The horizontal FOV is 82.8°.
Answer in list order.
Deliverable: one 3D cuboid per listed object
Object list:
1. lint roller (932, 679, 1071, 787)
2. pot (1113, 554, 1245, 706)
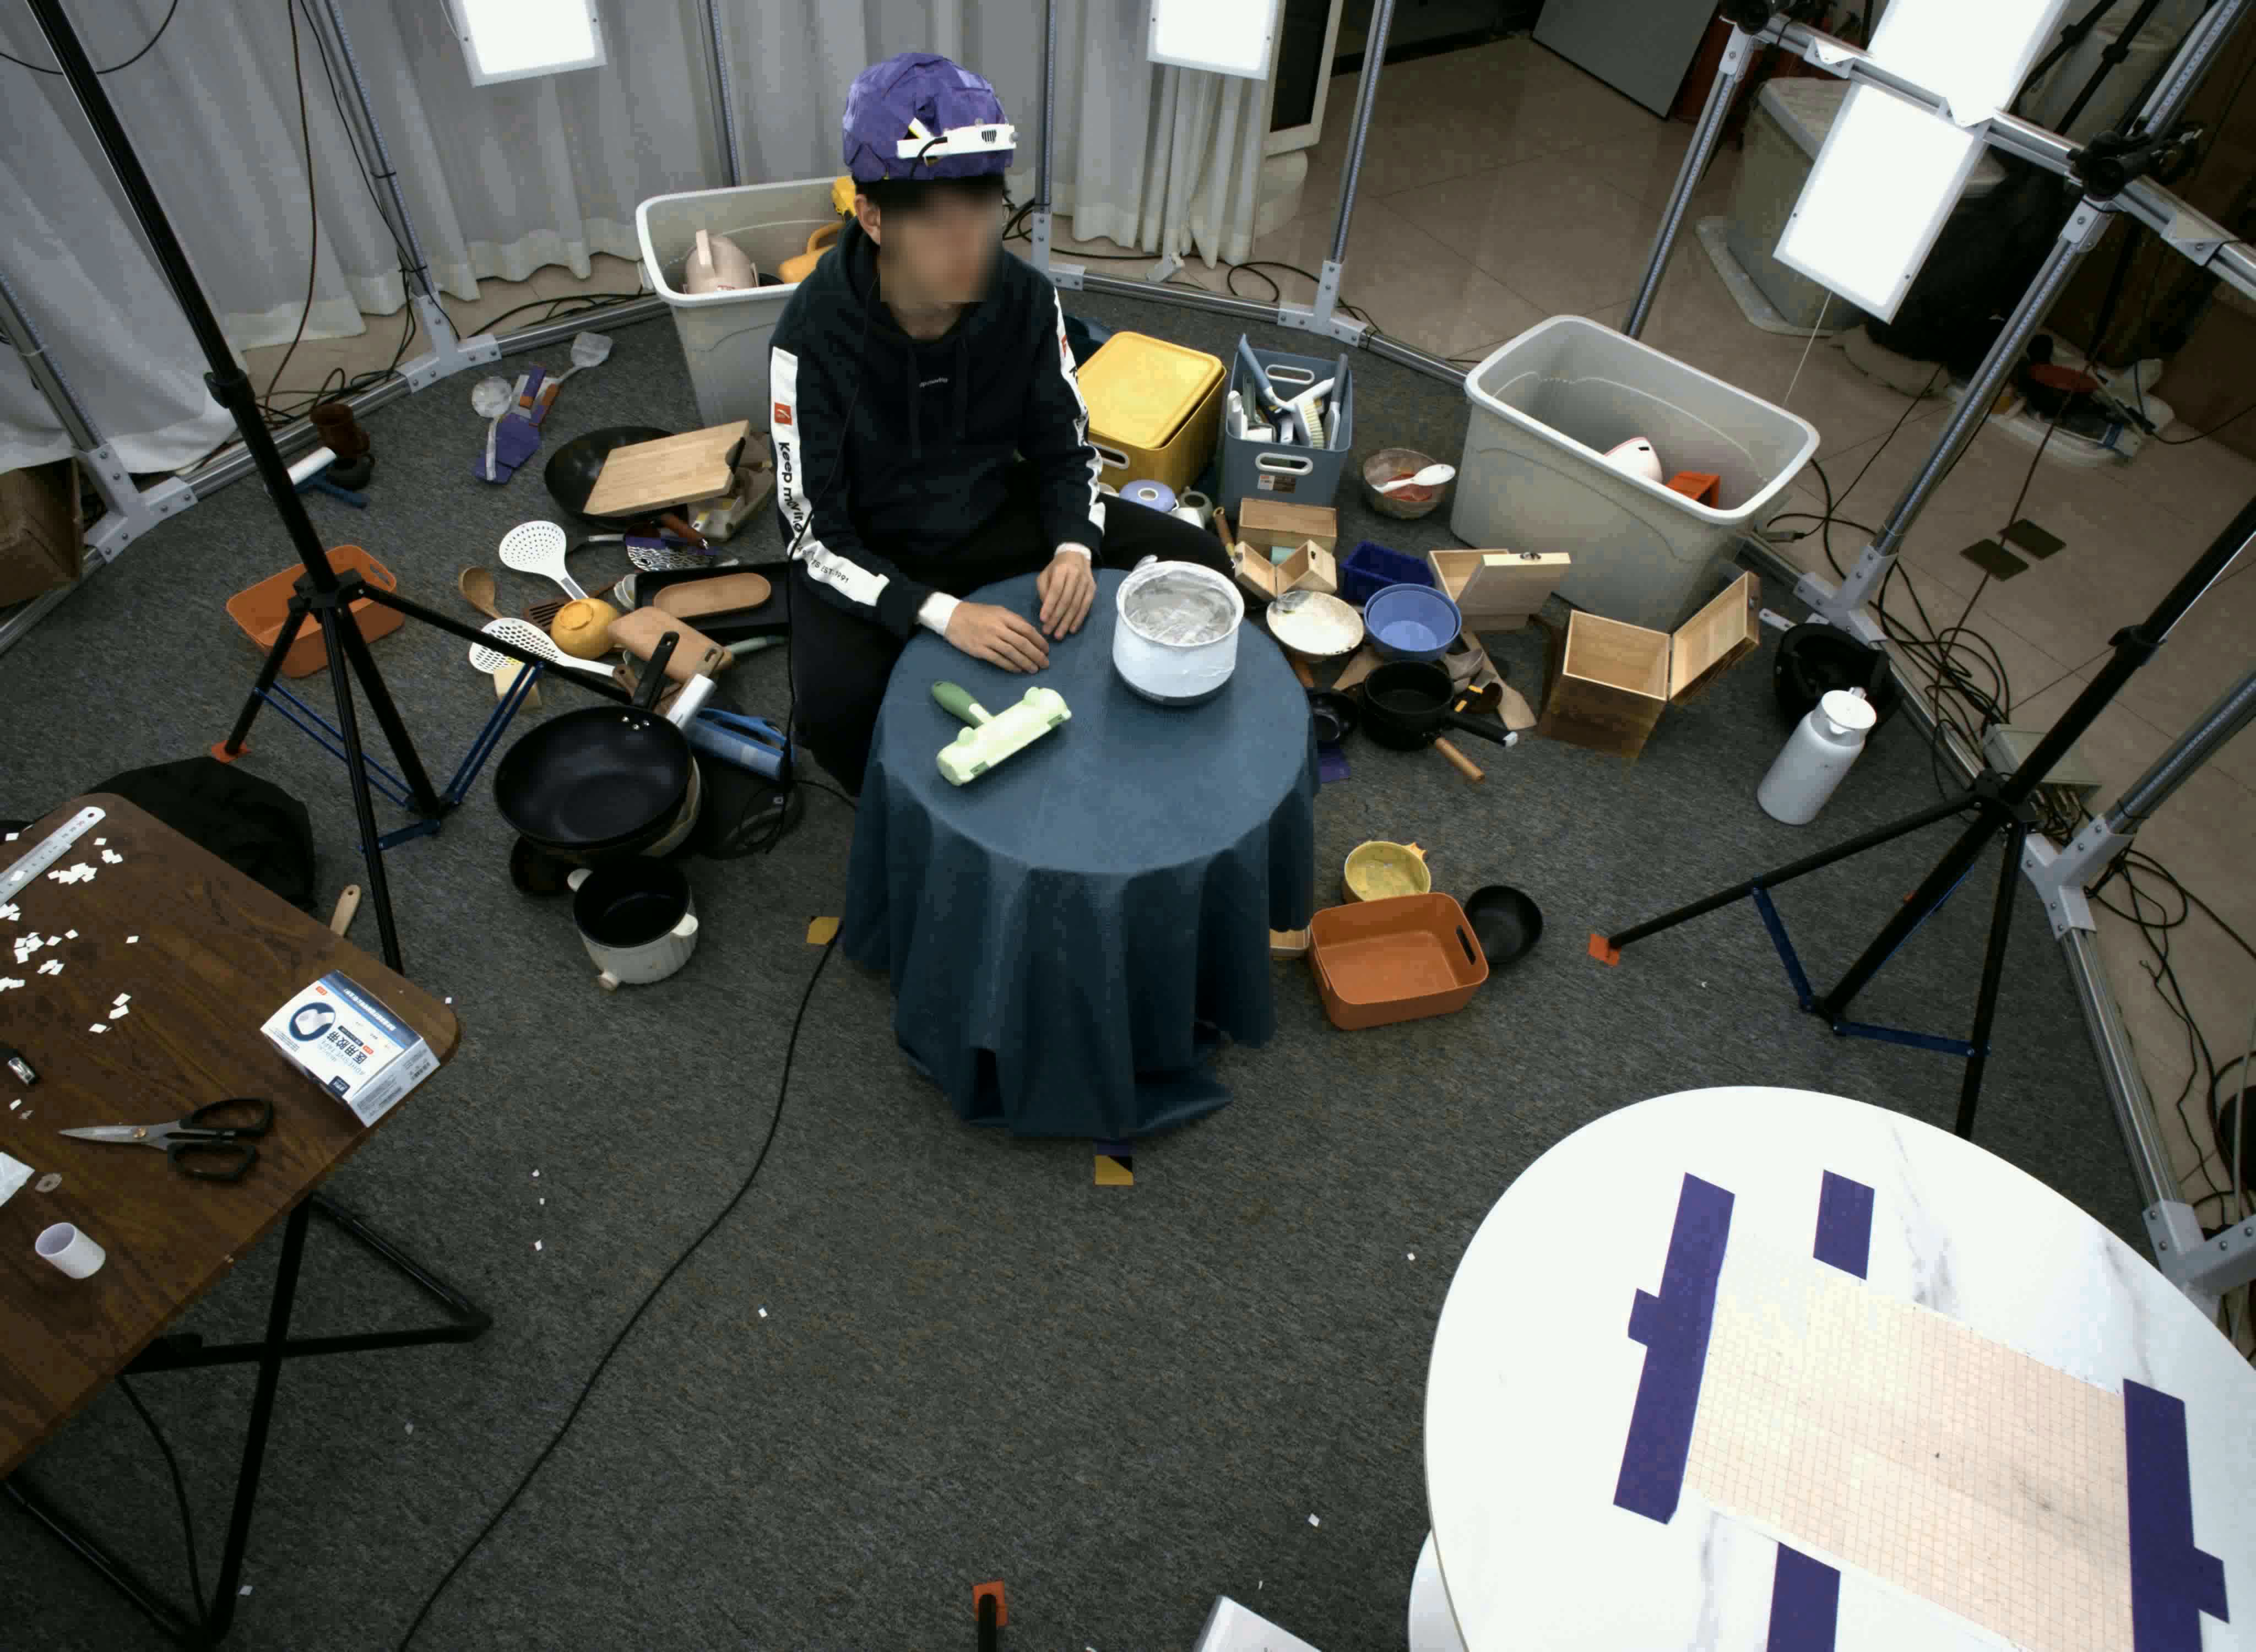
[{"bbox_3d":[-0.206,-0.161,1.745,0.200,0.080,0.186,-35,64,-28],"label":"lint roller"},{"bbox_3d":[0.058,-0.289,1.833,0.179,0.133,0.239,-16,53,-17],"label":"pot"}]
